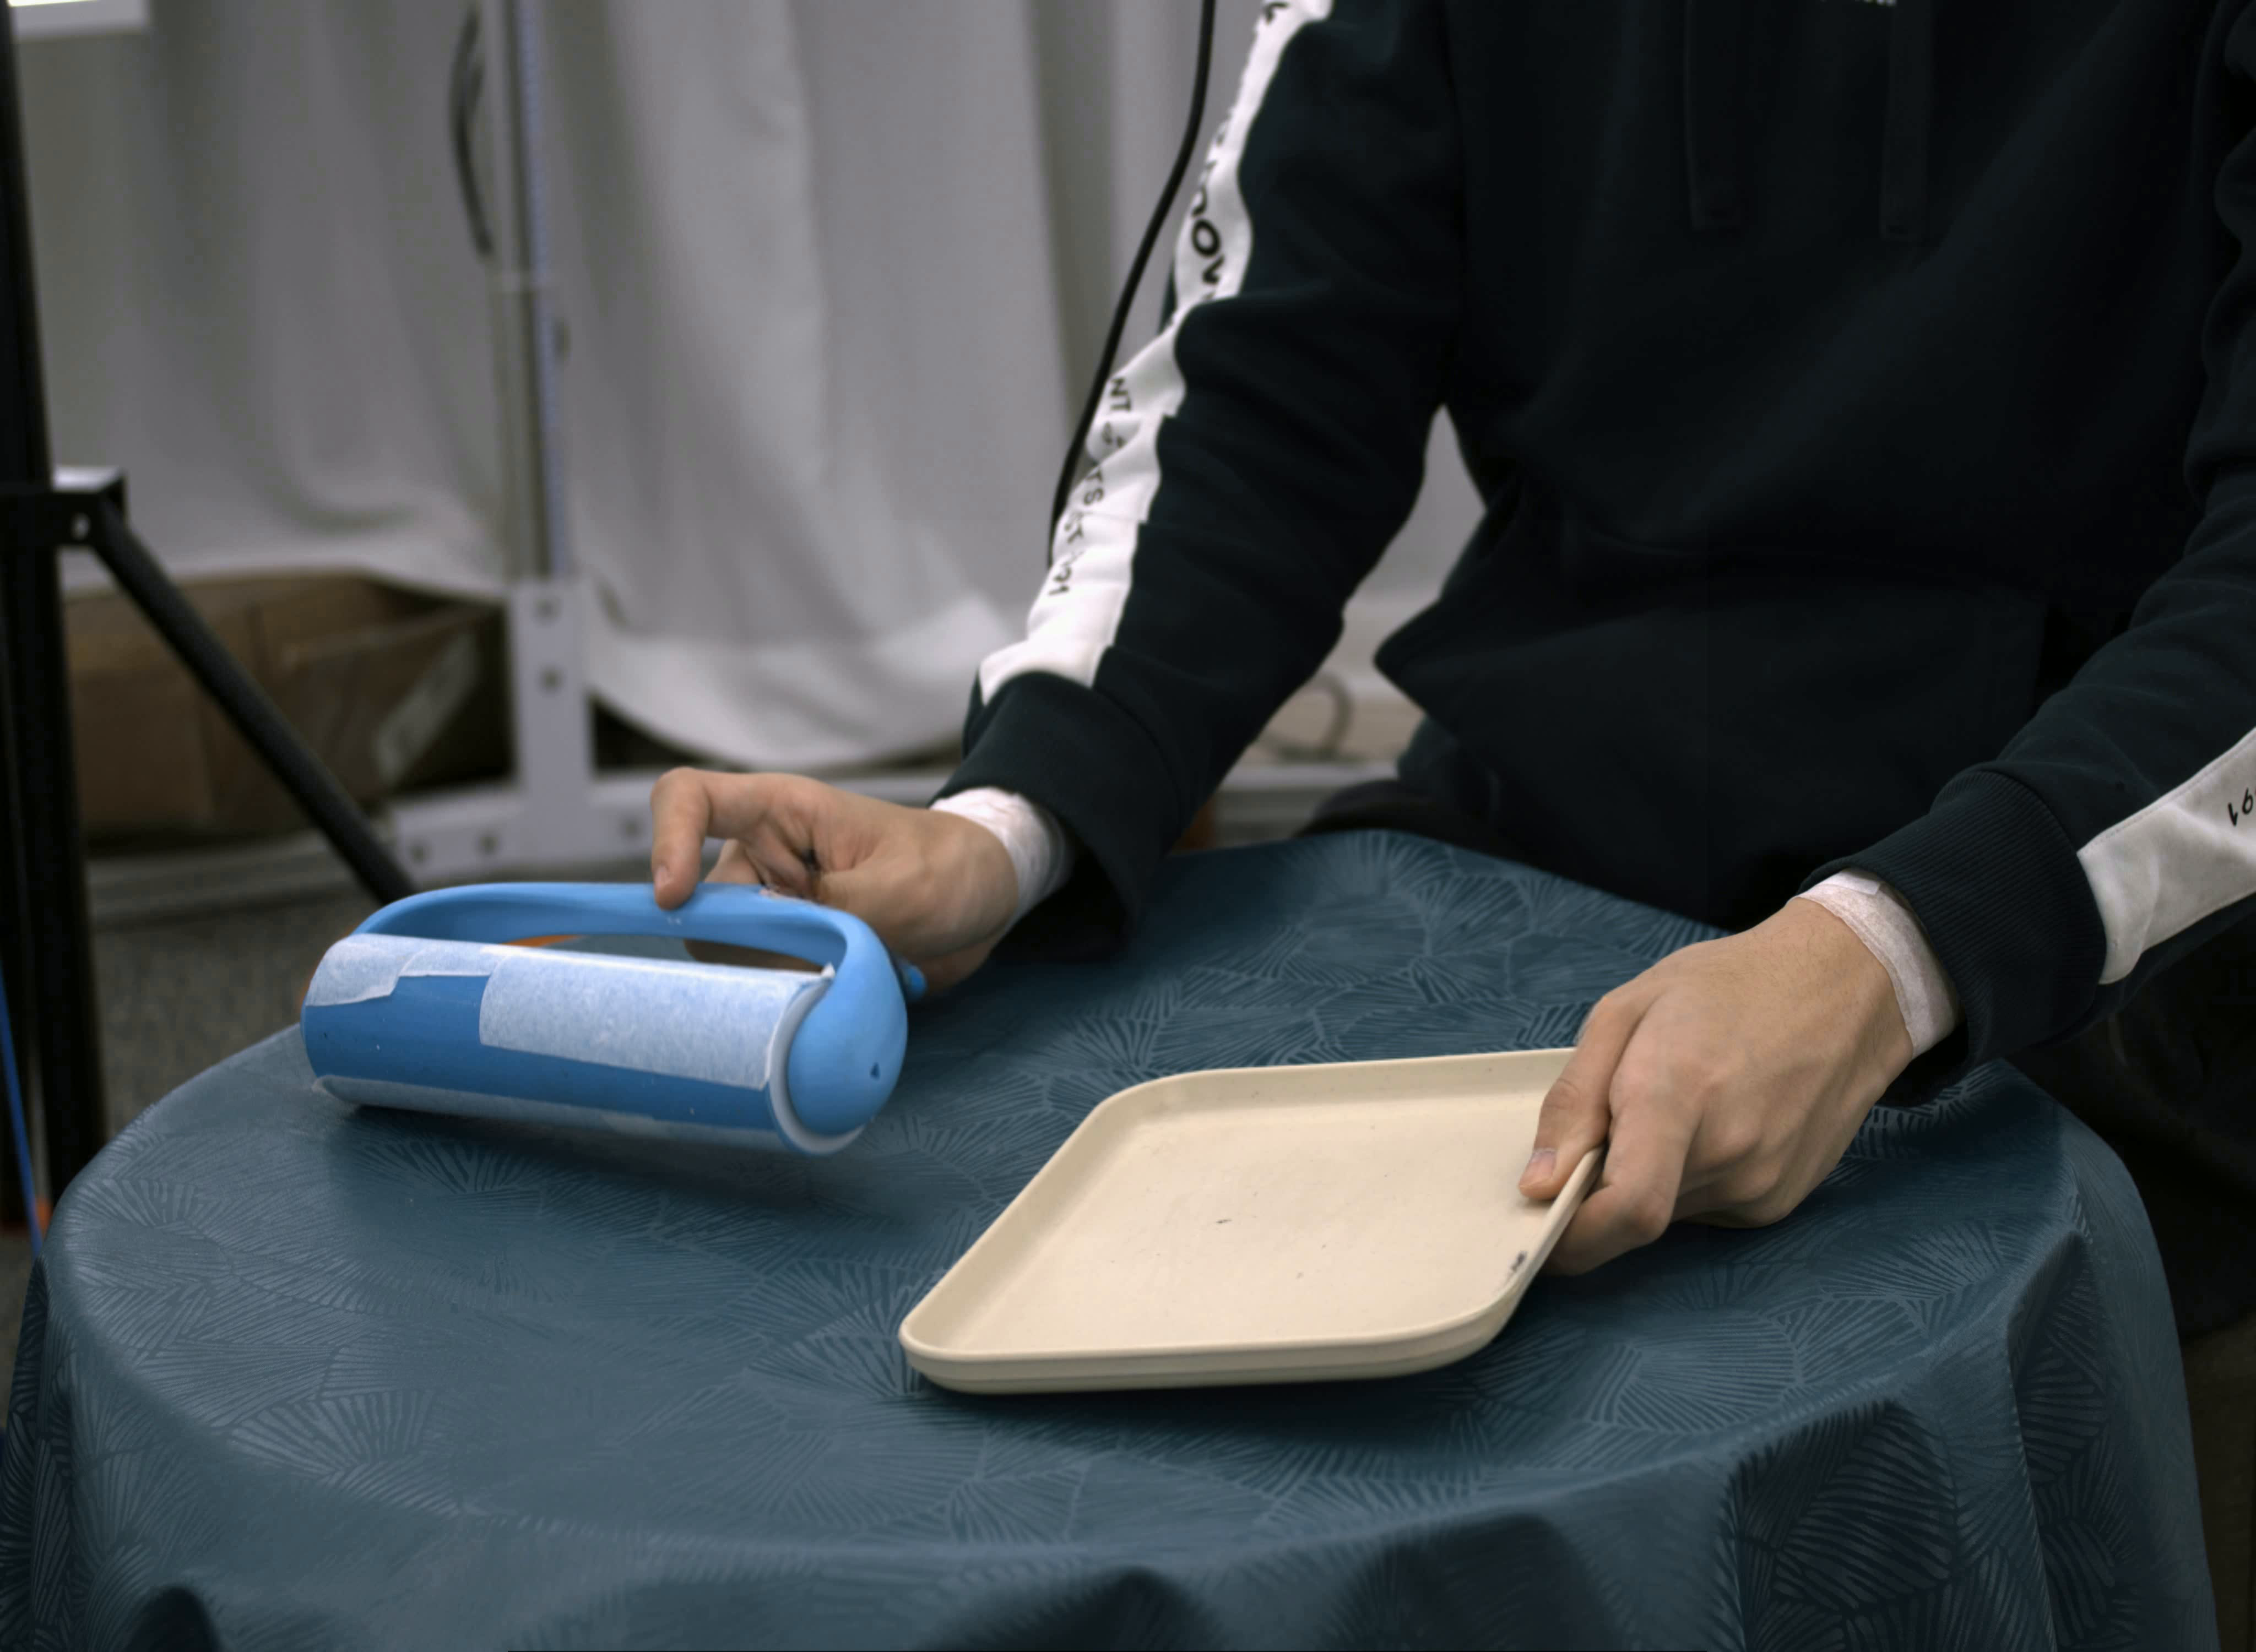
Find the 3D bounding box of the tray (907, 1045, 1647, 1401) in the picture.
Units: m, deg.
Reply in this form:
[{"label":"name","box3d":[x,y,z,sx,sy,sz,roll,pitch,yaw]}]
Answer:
[{"label":"tray","box3d":[0.047,0.110,1.478,0.173,0.017,0.237,-6,14,19]}]

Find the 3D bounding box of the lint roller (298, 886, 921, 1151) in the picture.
[{"label":"lint roller","box3d":[-0.130,0.049,1.653,0.233,0.068,0.176,0,15,37]}]
